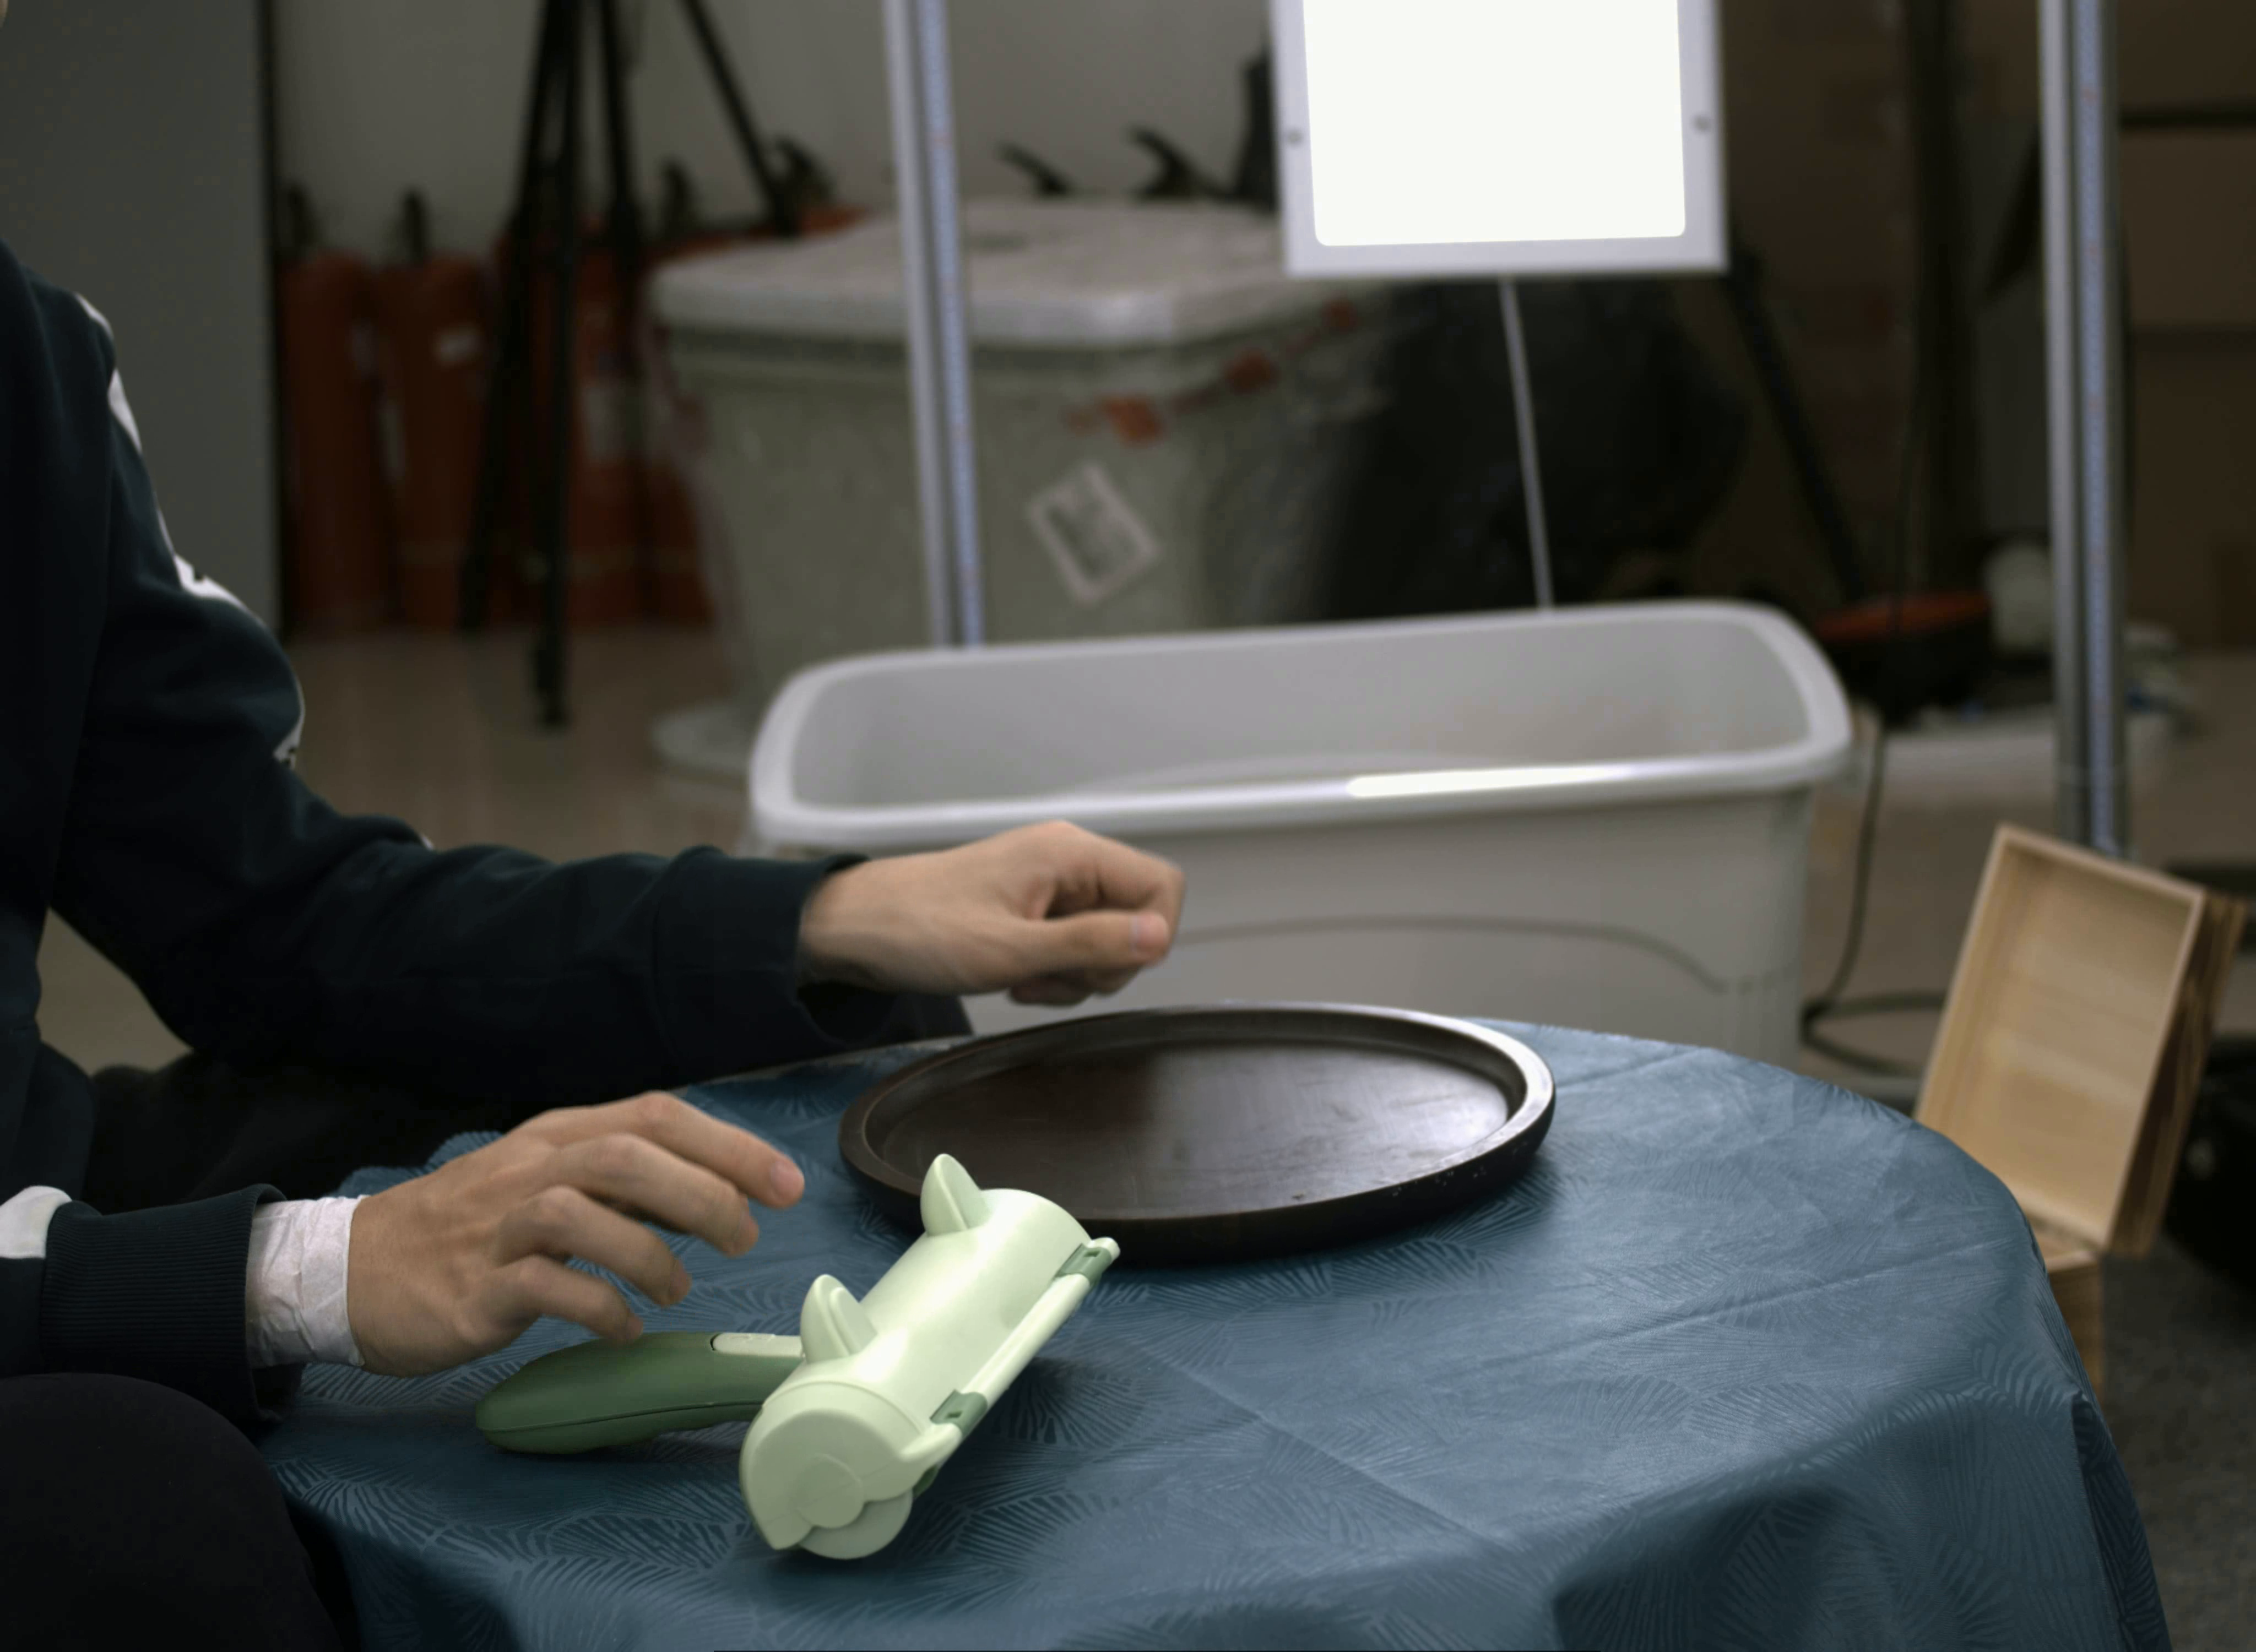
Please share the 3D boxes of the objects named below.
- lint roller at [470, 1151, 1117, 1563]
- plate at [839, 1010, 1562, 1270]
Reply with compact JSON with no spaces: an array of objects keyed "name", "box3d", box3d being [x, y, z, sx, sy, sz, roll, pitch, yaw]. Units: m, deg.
[{"name":"lint roller","box3d":[-0.114,0.152,1.664,0.185,0.082,0.195,3,16,17]},{"name":"plate","box3d":[0.026,0.107,1.917,0.254,0.029,0.254,-5,15,0]}]
